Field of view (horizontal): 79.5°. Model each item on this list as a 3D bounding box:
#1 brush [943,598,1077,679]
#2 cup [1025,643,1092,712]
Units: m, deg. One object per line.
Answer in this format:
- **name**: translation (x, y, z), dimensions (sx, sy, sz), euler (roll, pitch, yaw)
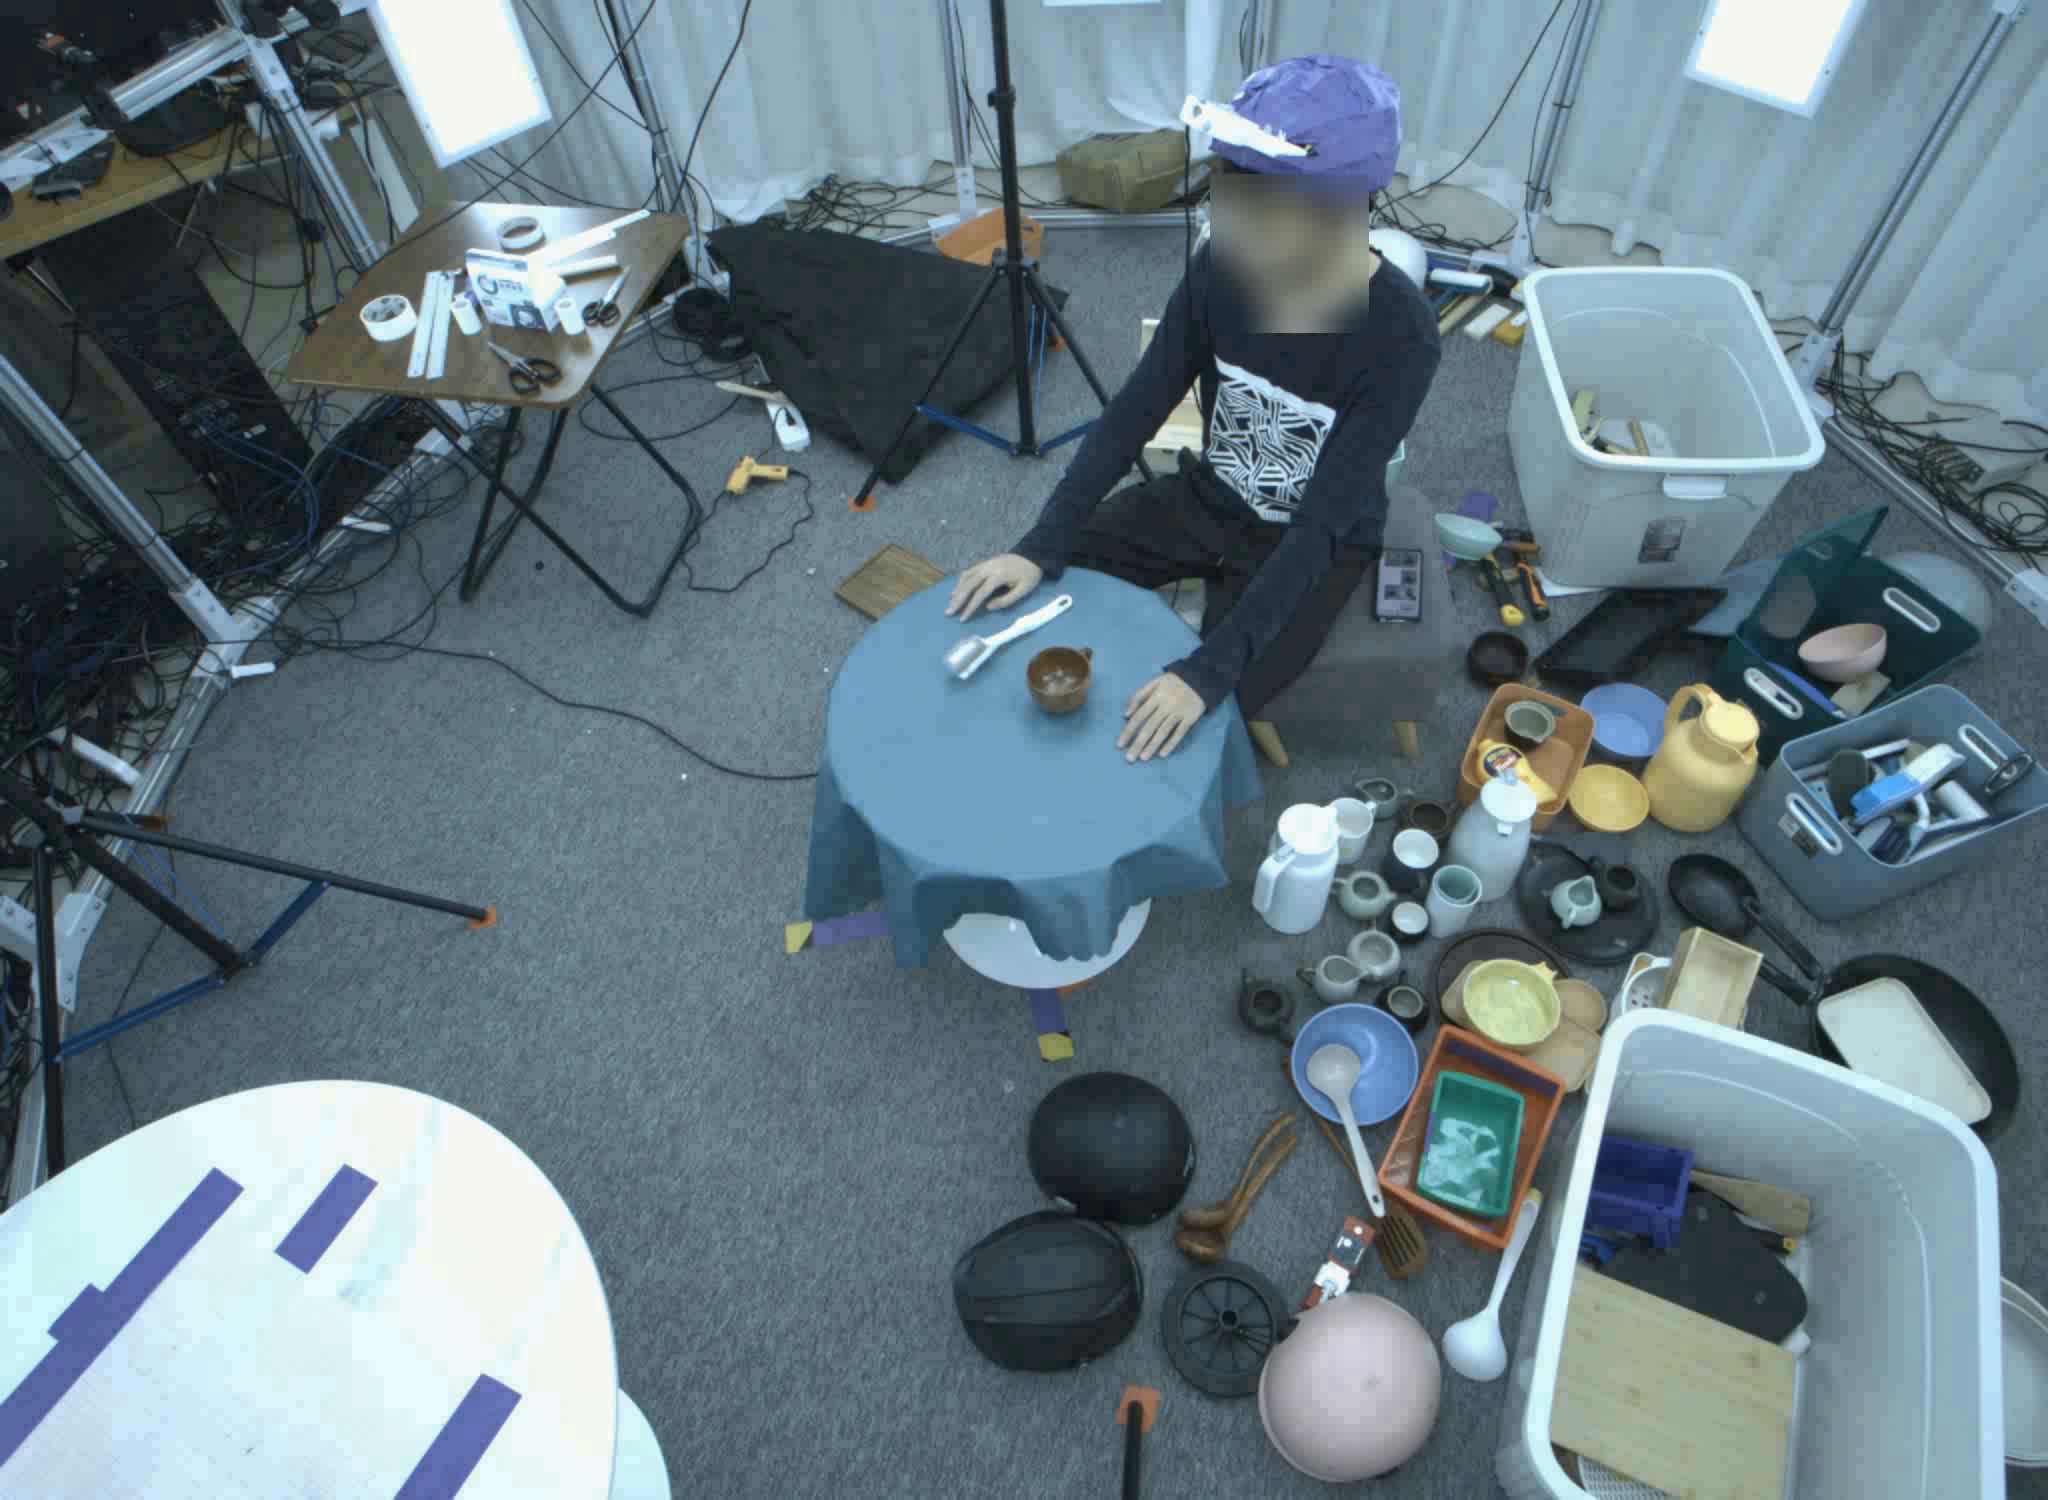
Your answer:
- **brush**: translation (-0.019, -0.185, 1.884), dimensions (0.245, 0.051, 0.033), euler (-33, 55, -19)
- **cup**: translation (0.061, -0.107, 1.811), dimensions (0.094, 0.068, 0.120), euler (34, 65, 26)
